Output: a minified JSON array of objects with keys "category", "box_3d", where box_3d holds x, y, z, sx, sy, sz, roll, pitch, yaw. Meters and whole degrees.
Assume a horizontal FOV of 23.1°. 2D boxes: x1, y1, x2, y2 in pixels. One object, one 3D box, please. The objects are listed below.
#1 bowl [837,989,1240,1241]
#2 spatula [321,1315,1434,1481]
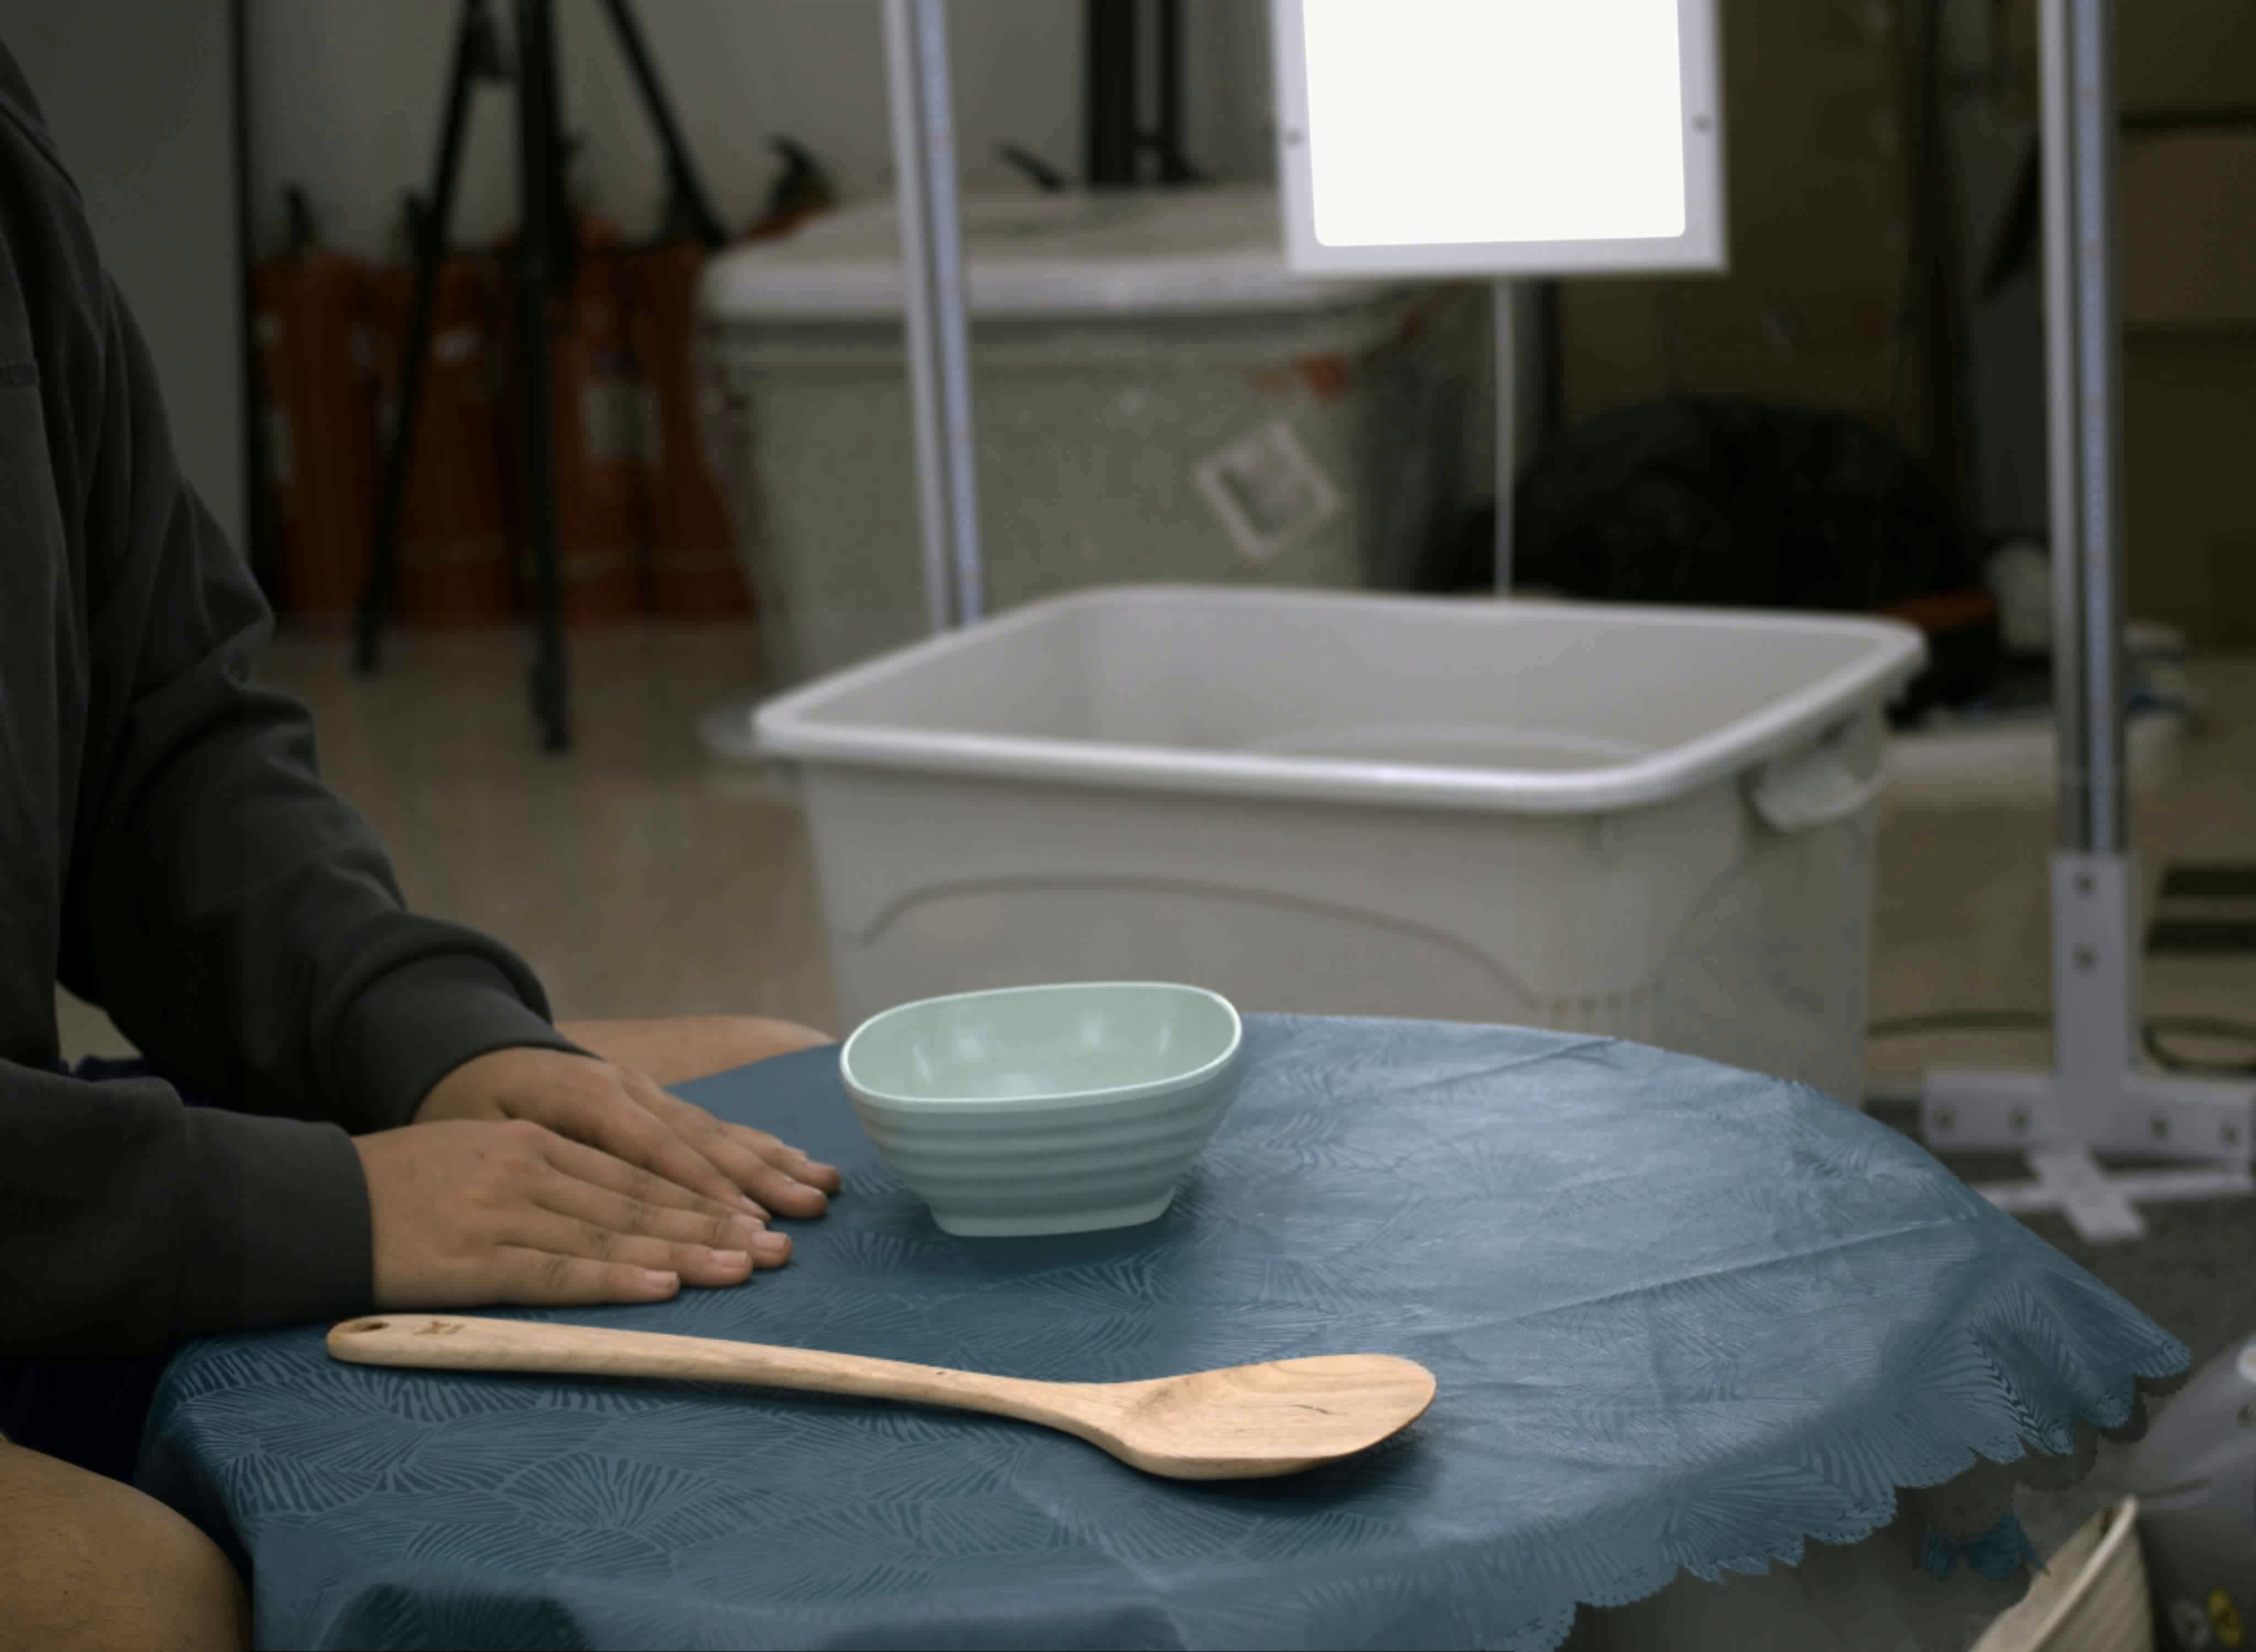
[{"category":"bowl","box_3d":[-0.029,0.102,1.893,0.151,0.059,0.151,-3,14,-1]},{"category":"spatula","box_3d":[-0.090,0.172,1.708,0.398,0.018,0.093,3,14,29]}]
